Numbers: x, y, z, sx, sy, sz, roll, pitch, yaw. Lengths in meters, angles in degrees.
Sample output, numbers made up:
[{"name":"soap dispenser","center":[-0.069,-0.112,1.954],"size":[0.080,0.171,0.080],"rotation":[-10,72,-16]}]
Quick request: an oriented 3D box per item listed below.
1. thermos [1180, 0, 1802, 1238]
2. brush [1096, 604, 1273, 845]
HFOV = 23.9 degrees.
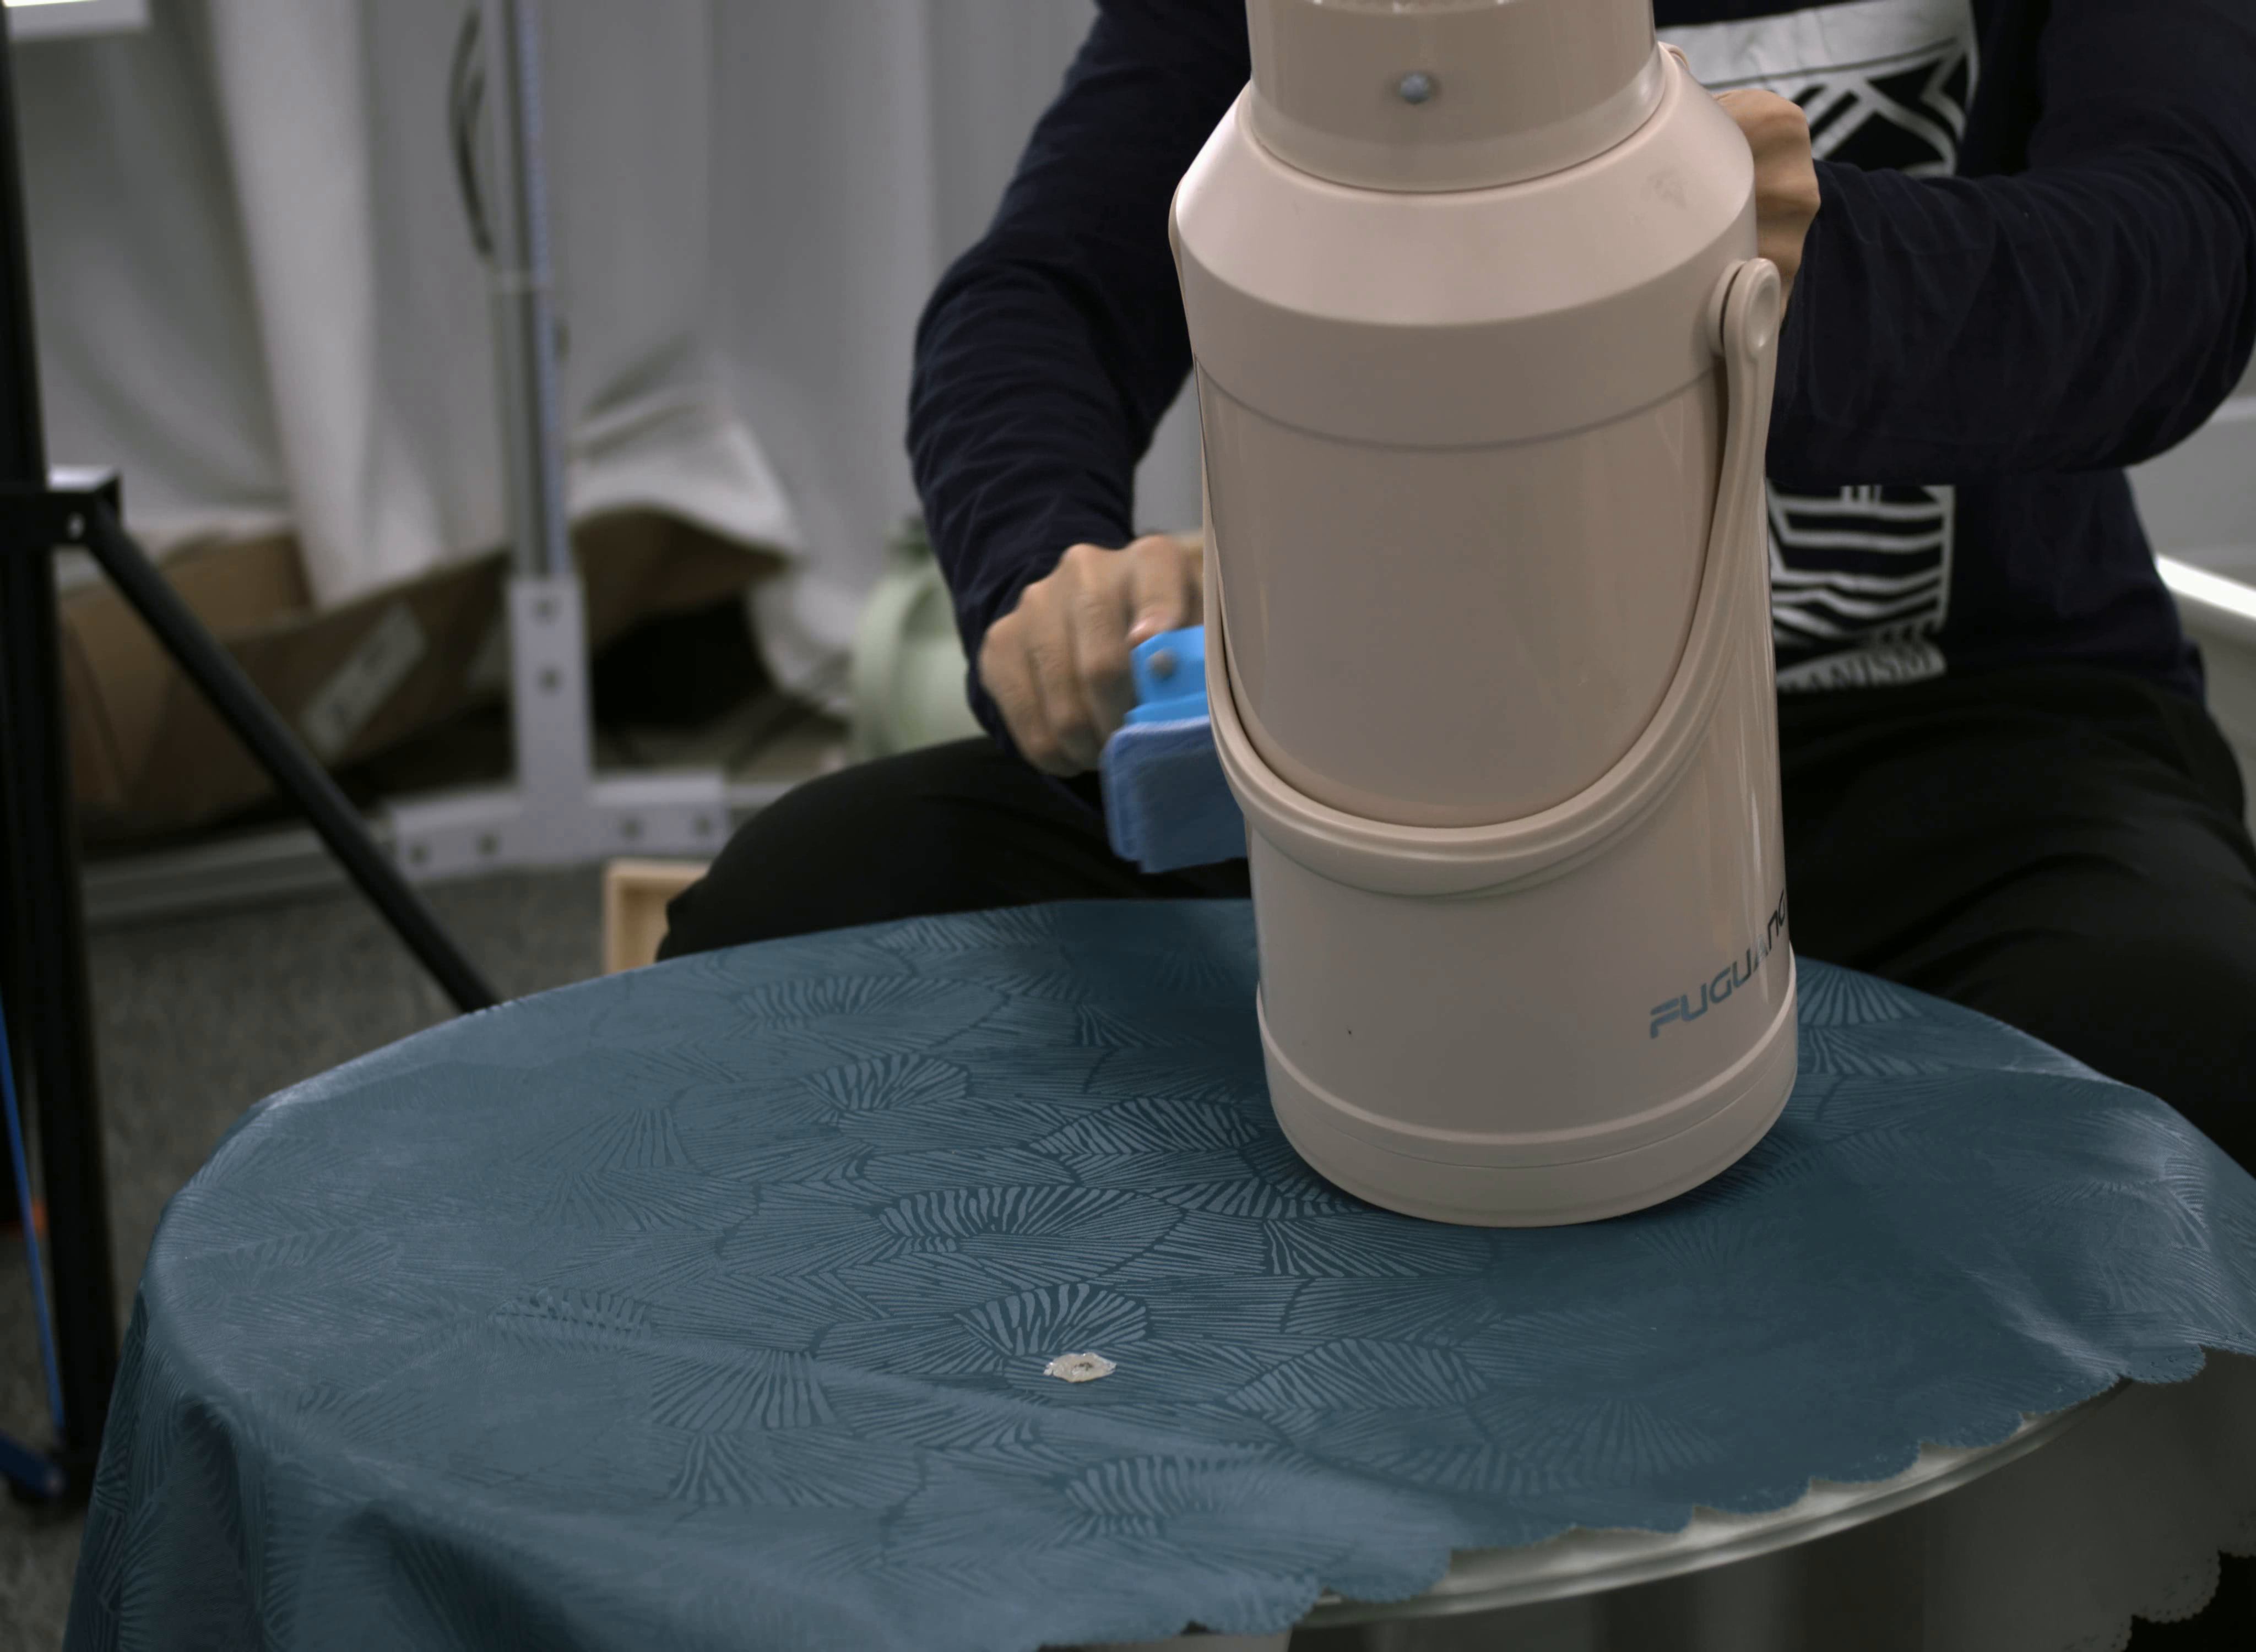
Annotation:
[{"name":"thermos","center":[0.110,-0.098,1.482],"size":[0.178,0.403,0.205],"rotation":[11,36,29]},{"name":"brush","center":[0.031,-0.034,1.666],"size":[0.083,0.056,0.143],"rotation":[-10,-15,1]}]
